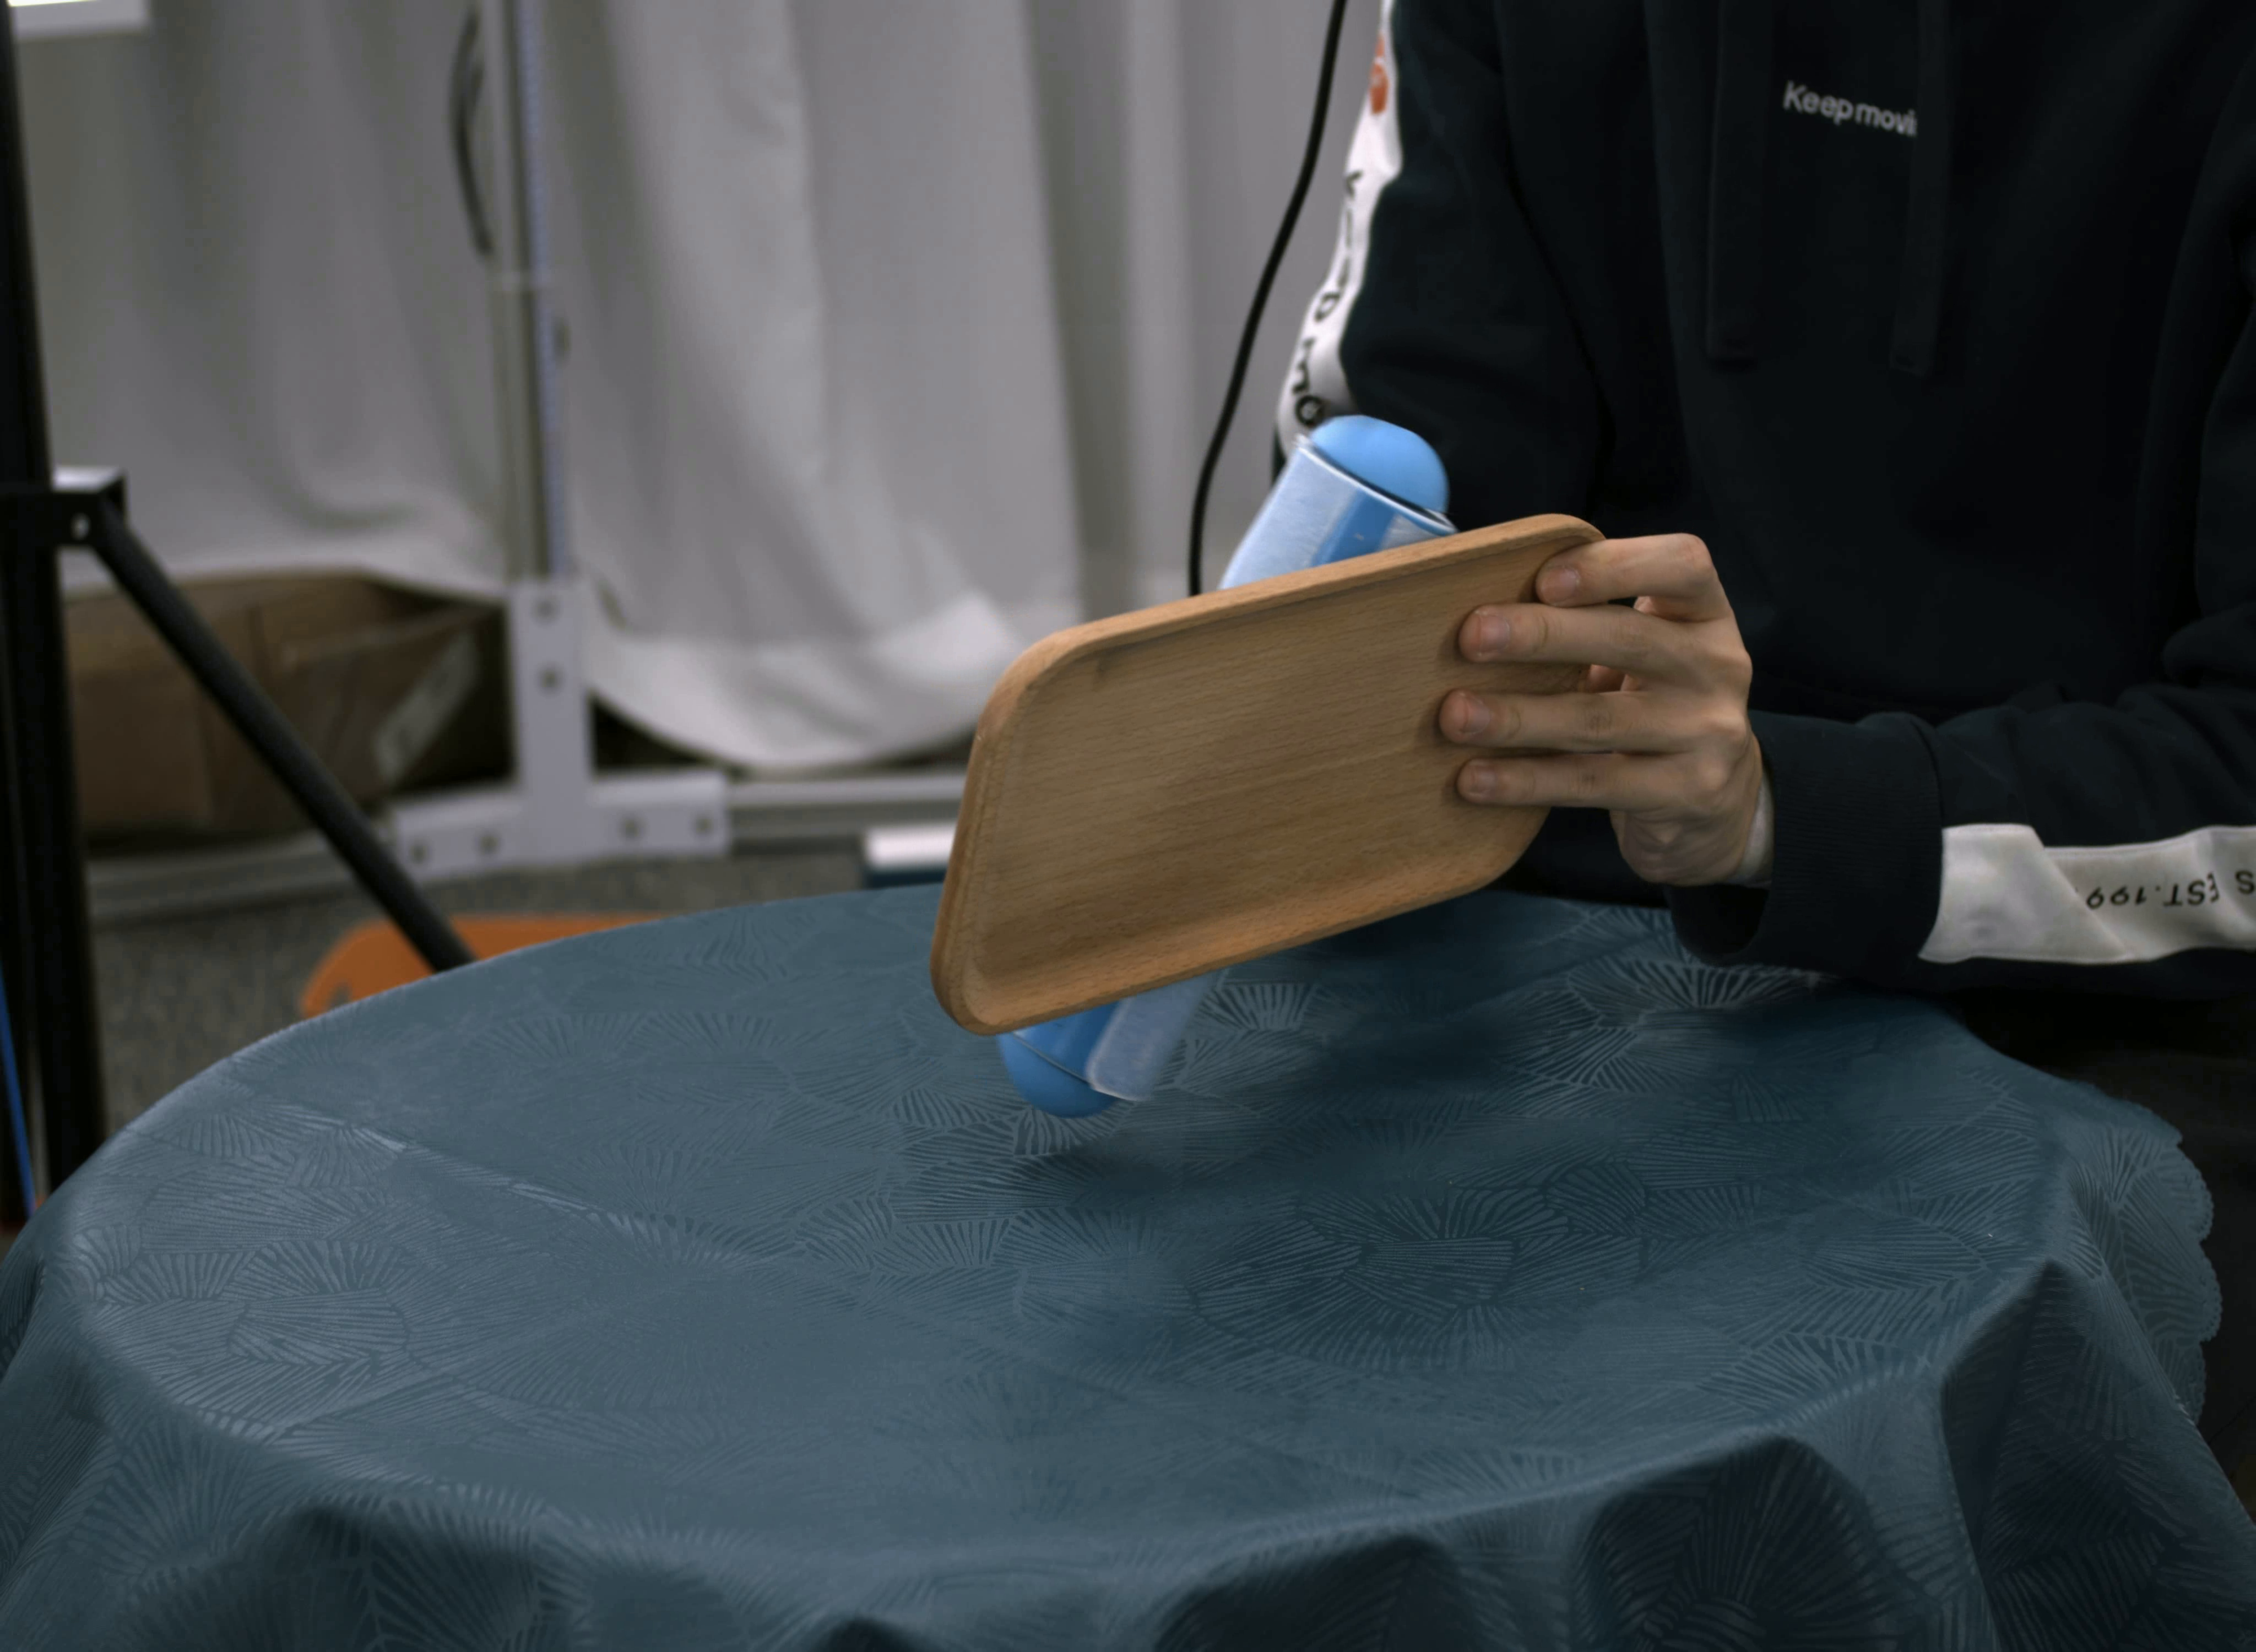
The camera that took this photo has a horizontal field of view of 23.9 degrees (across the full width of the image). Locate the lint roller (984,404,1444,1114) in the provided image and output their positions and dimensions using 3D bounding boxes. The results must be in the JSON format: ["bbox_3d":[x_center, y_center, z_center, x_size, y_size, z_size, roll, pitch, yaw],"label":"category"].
[{"bbox_3d":[0.041,-0.015,1.612,0.069,0.230,0.177,30,6,17],"label":"lint roller"}]

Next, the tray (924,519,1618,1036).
[{"bbox_3d":[0.043,-0.017,1.518,0.245,0.131,0.023,-13,40,-42],"label":"tray"}]
